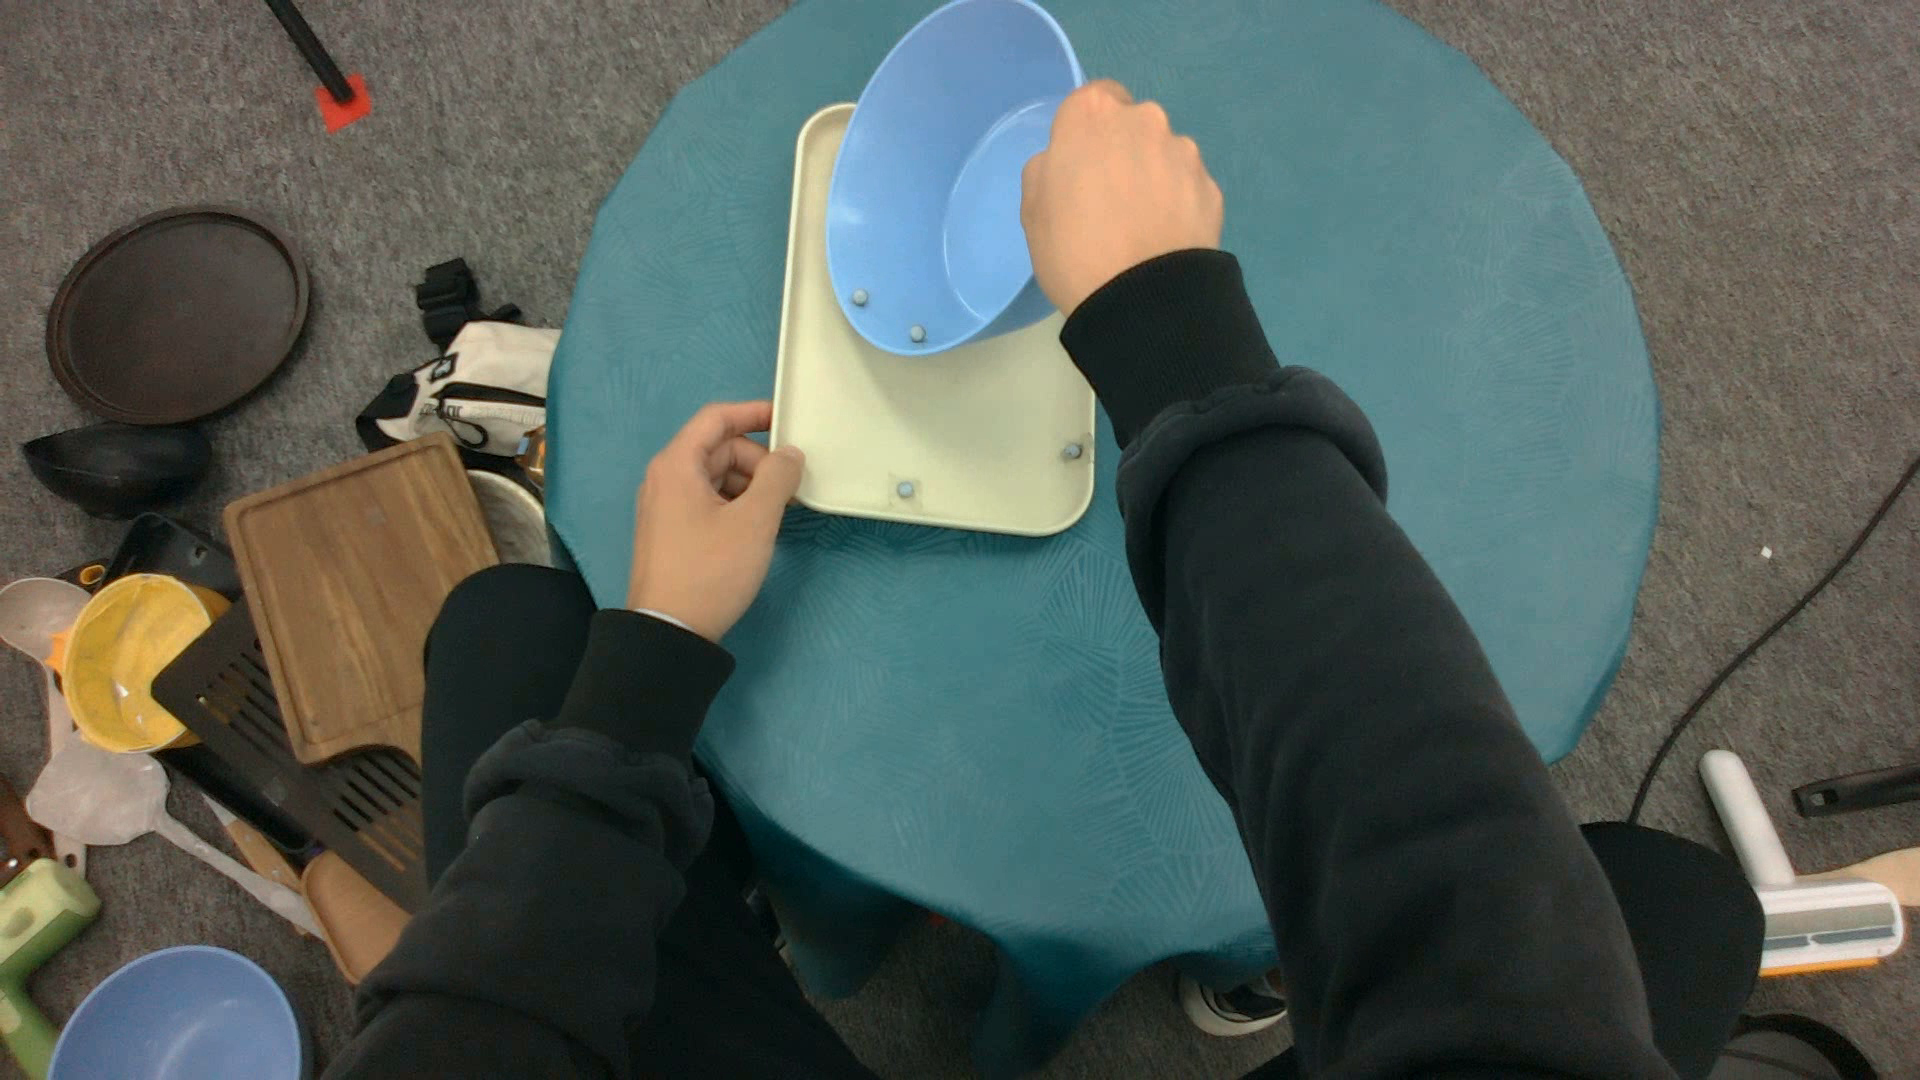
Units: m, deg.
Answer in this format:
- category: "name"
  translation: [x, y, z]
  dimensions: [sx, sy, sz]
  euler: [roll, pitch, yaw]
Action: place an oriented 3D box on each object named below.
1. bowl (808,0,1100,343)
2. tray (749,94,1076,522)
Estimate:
- category: "bowl"
  translation: [0.004, -0.178, 0.684]
  dimensions: [0.070, 0.175, 0.176]
  euler: [10, 64, -45]
- category: "tray"
  translation: [-0.021, -0.126, 0.739]
  dimensions: [0.171, 0.017, 0.240]
  euler: [6, 71, -10]
